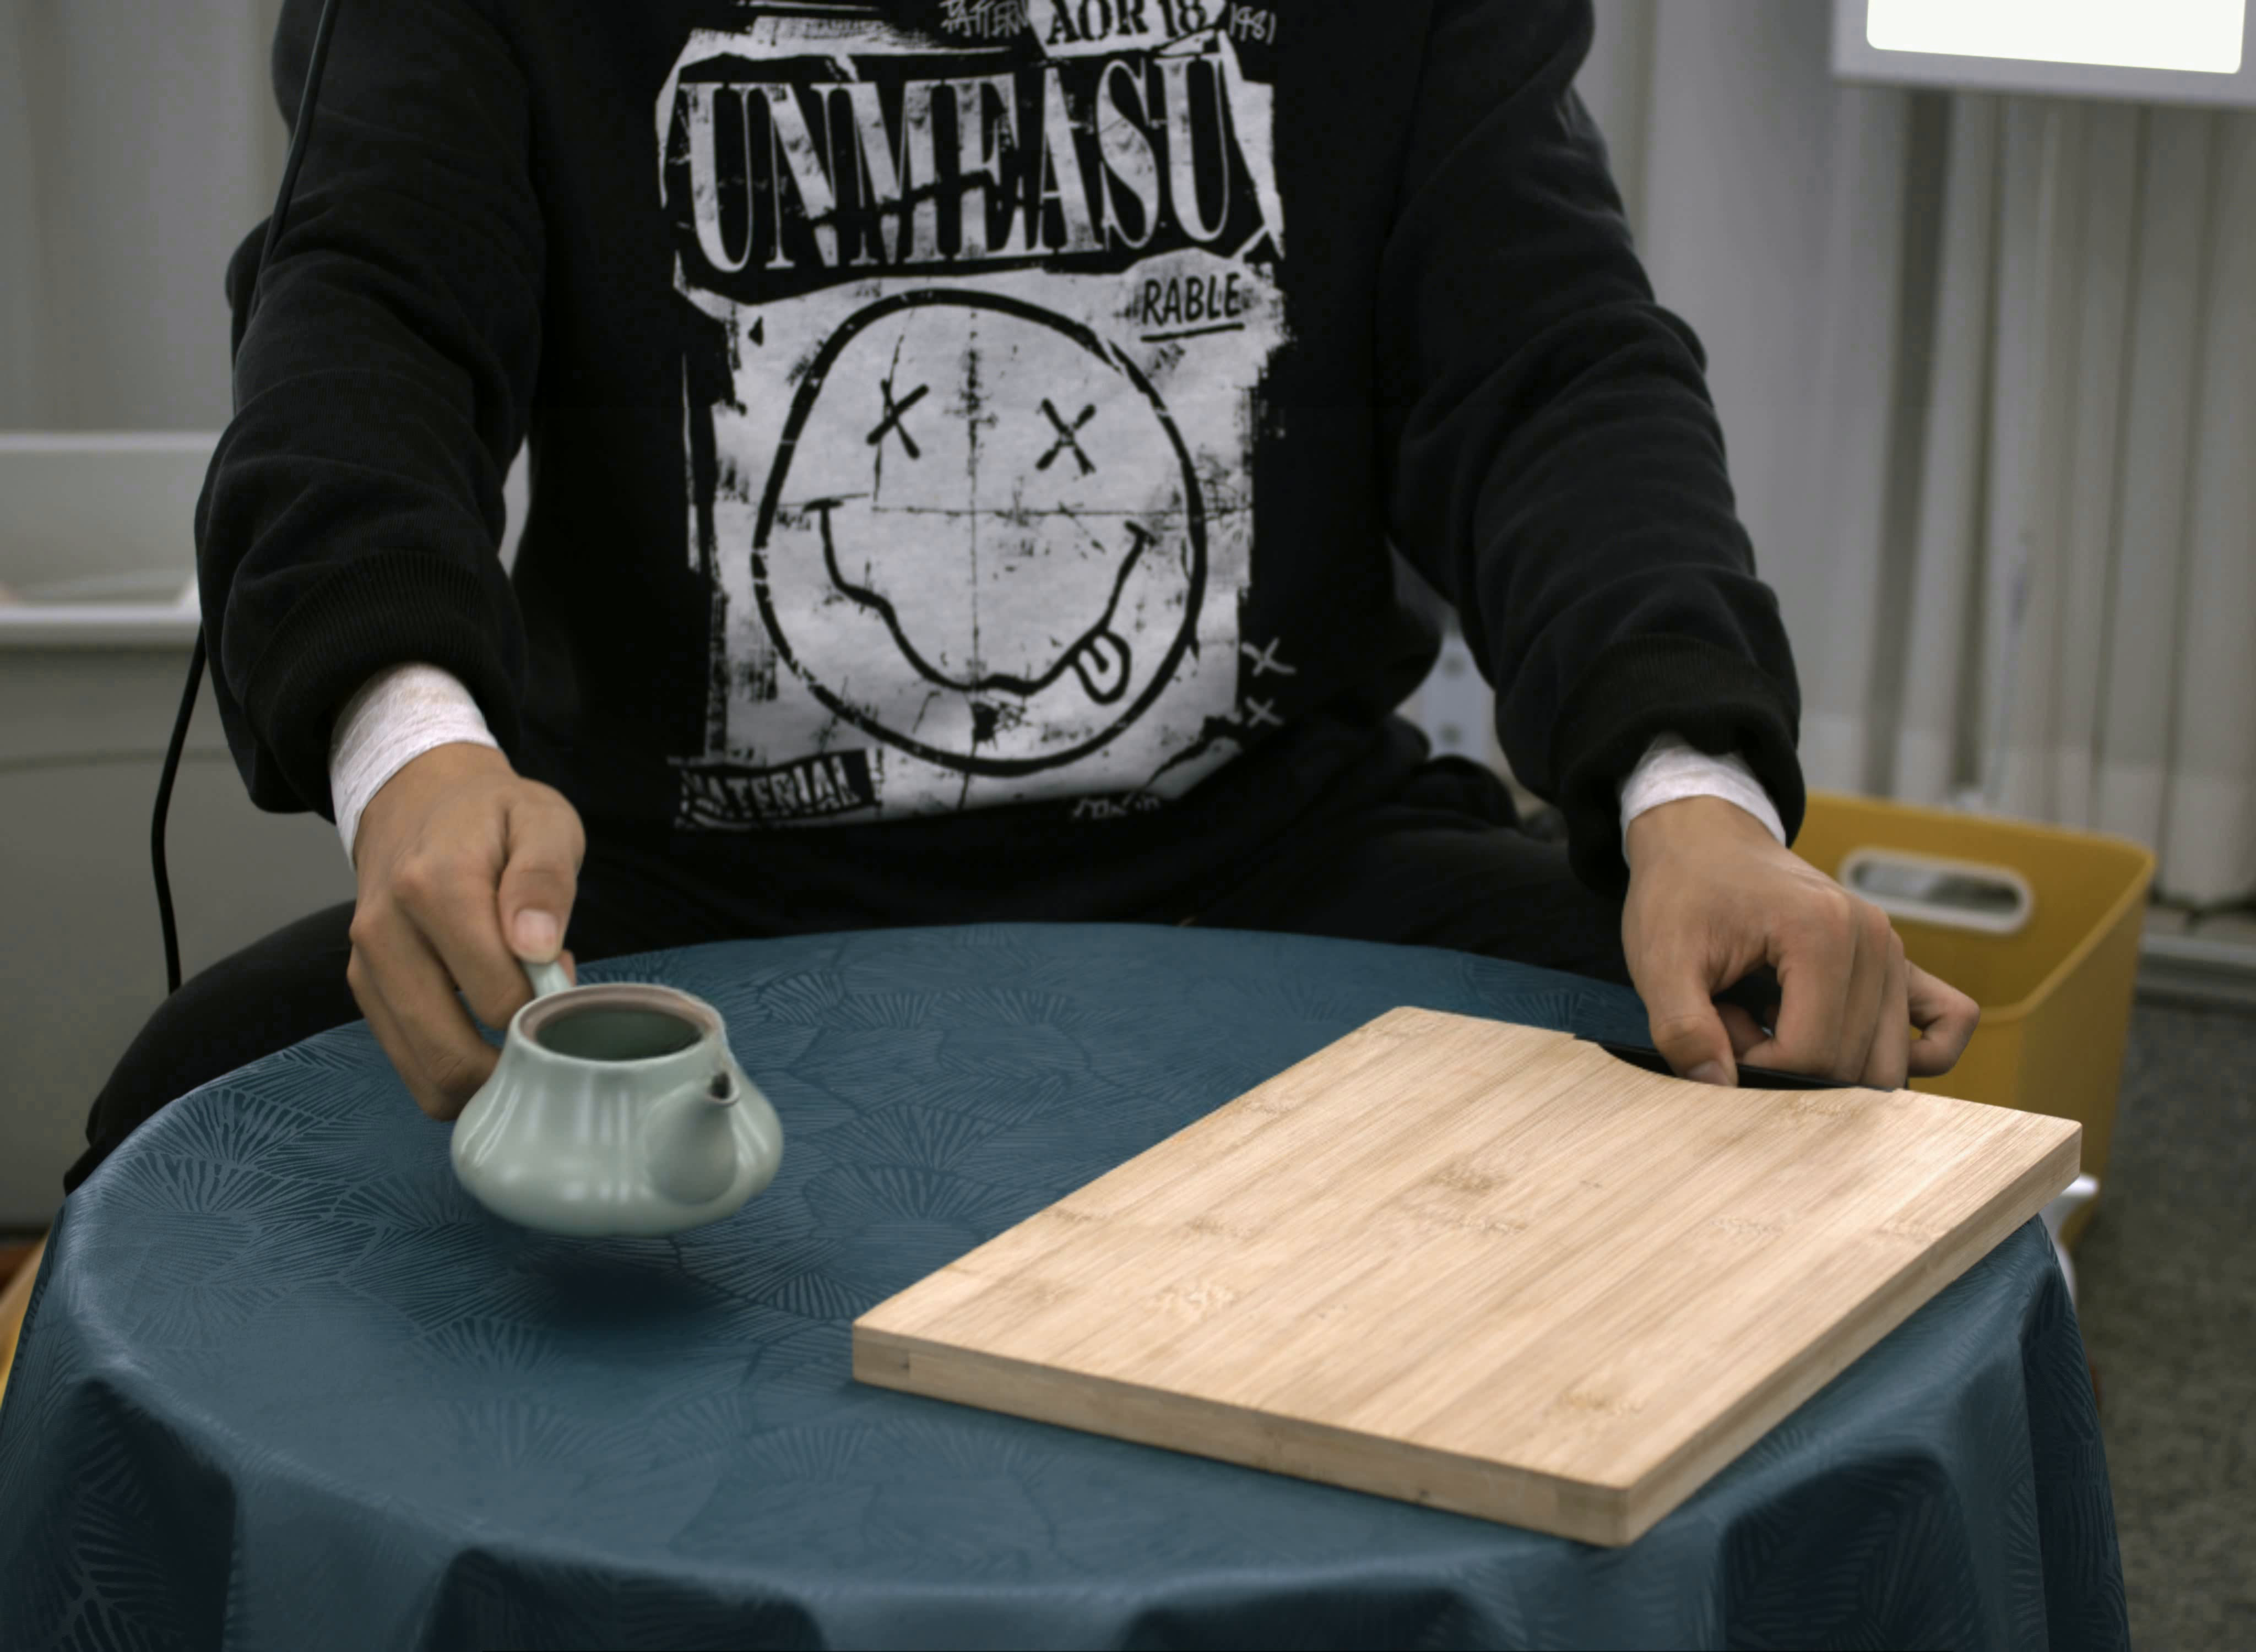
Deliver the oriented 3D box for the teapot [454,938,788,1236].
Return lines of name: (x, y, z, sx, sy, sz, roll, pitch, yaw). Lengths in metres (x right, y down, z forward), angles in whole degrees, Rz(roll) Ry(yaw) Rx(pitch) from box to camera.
teapot: (-0.149, 0.078, 1.527, 0.096, 0.062, 0.135, -15, 27, -34)

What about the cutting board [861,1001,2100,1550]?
cutting board: (0.112, 0.122, 1.557, 0.248, 0.024, 0.349, 9, 18, 27)
